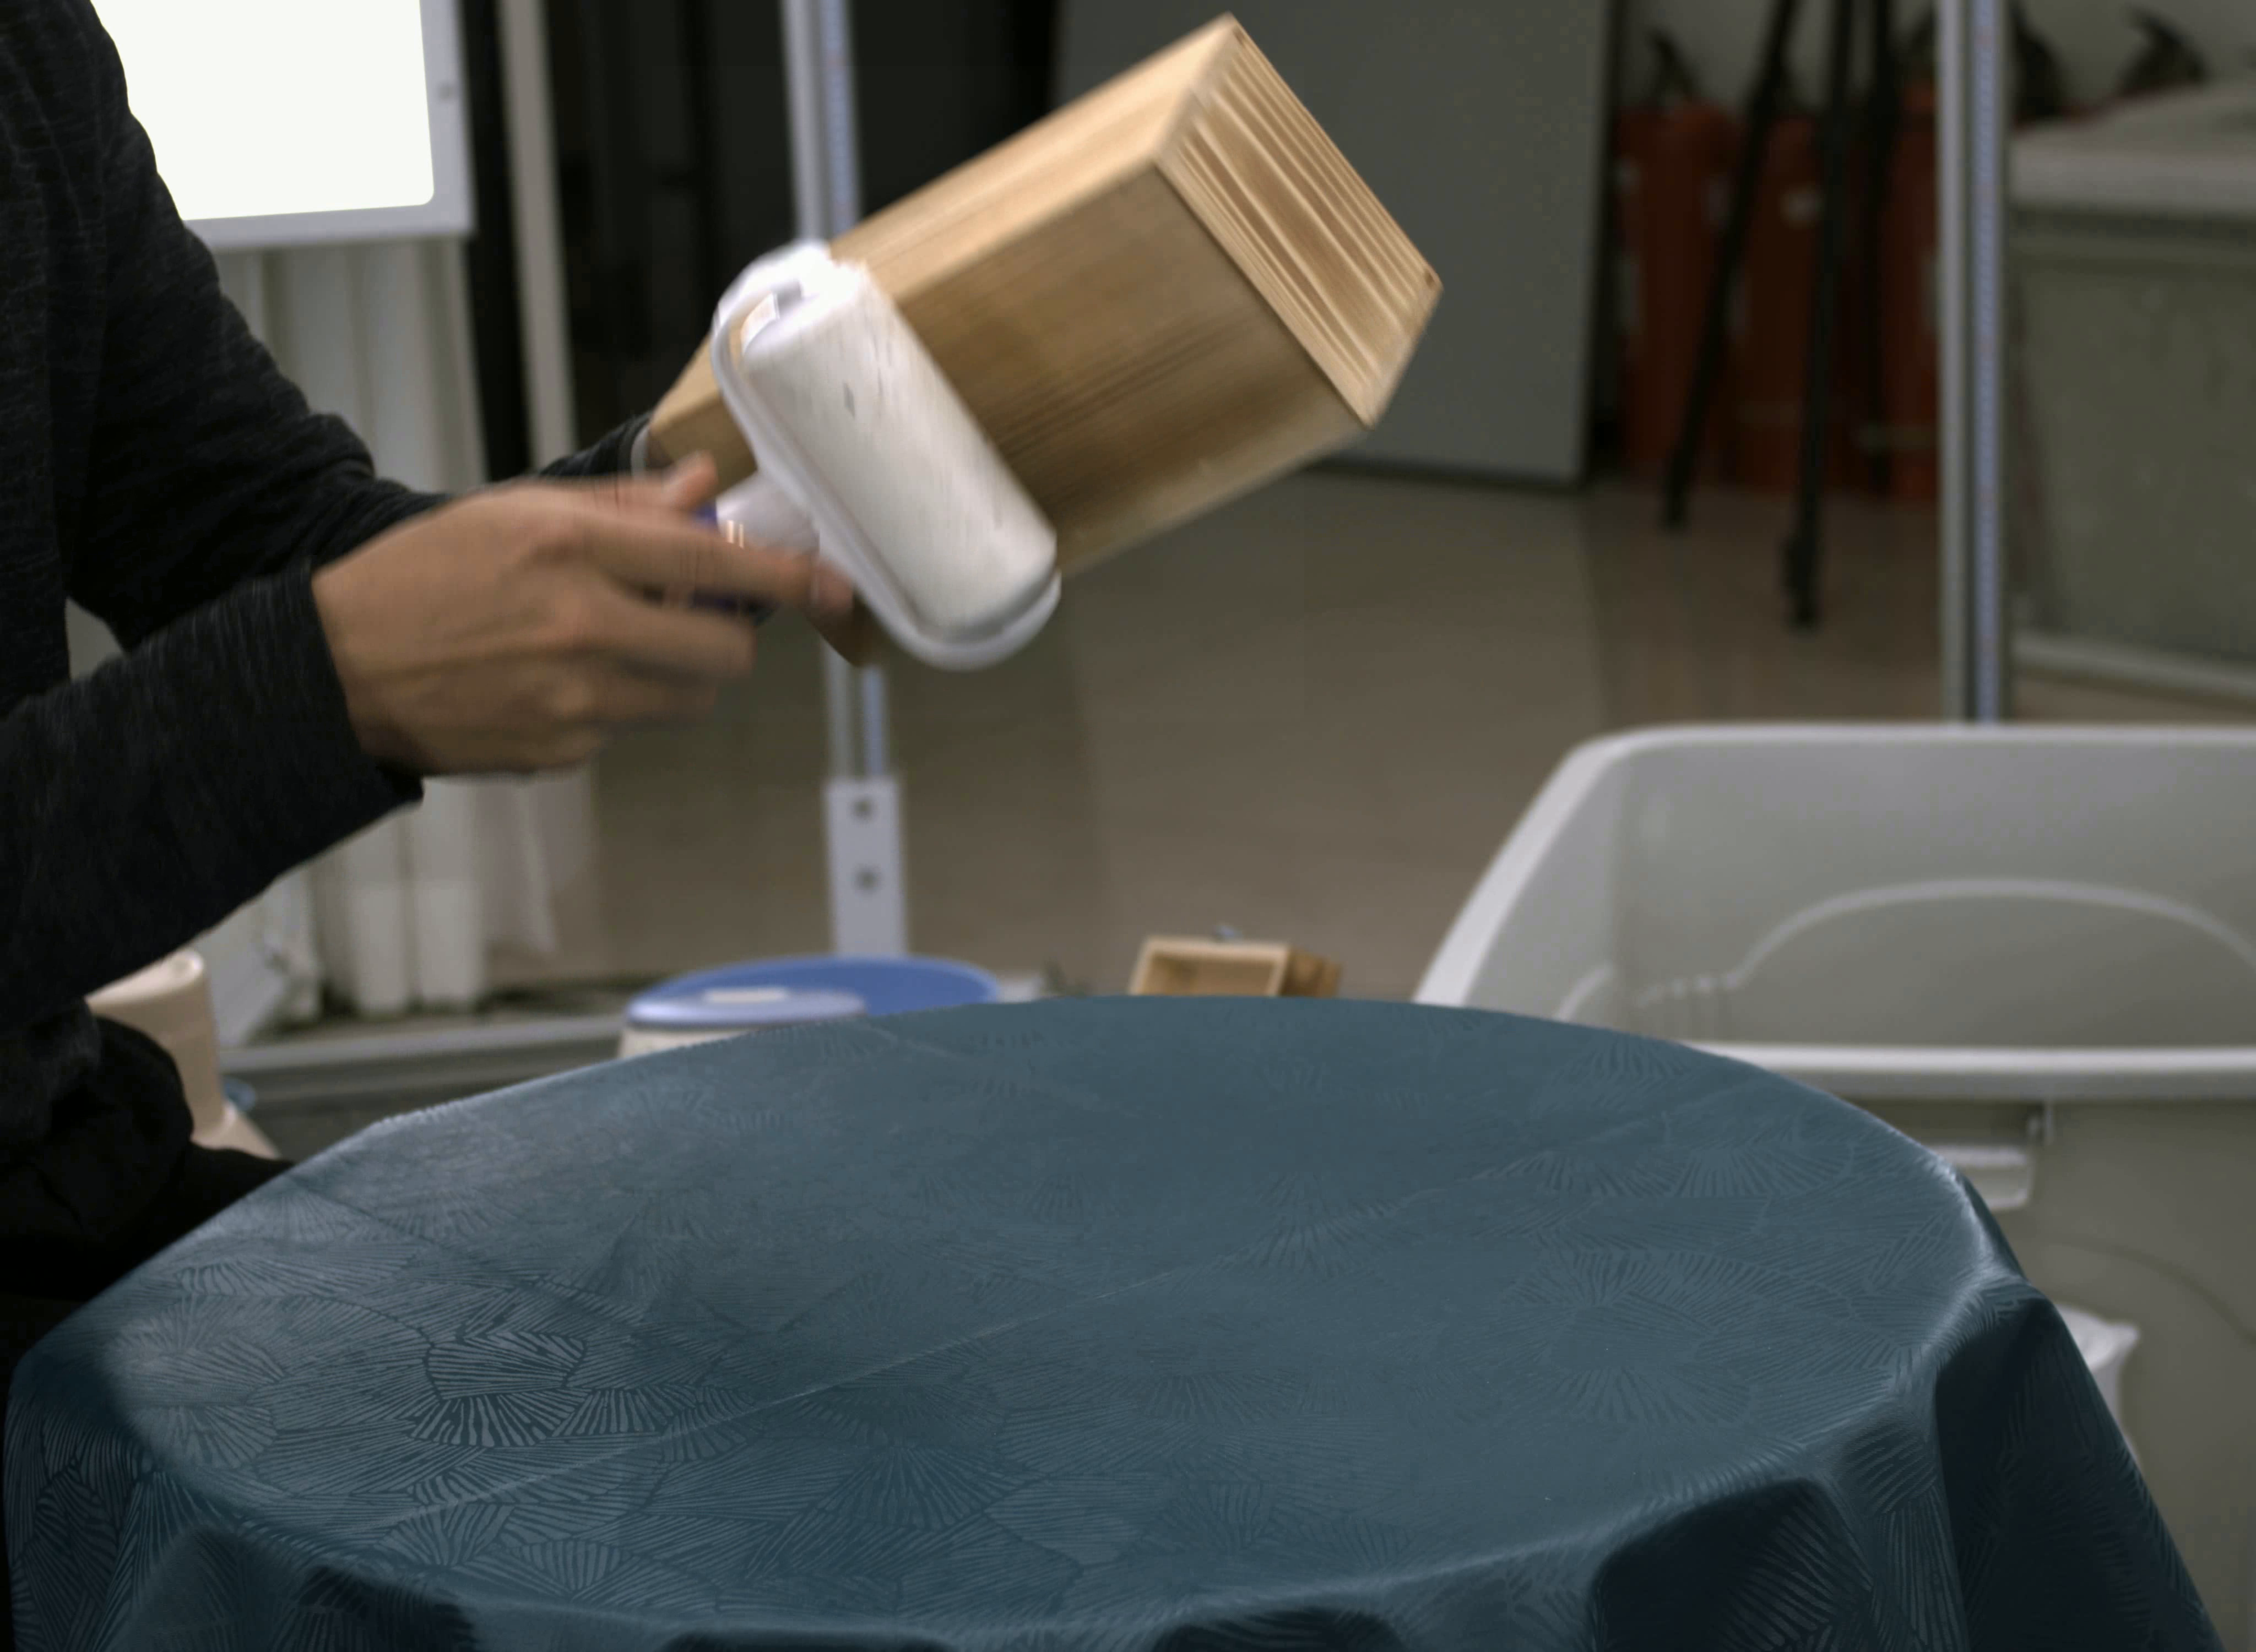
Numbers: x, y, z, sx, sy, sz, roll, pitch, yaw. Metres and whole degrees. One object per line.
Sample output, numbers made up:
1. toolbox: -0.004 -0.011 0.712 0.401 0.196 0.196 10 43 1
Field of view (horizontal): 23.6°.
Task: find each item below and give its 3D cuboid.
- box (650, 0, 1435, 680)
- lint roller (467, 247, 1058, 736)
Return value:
1. box: -0.027 -0.142 1.618 0.213 0.107 0.080 -25 25 37
2. lint roller: -0.122 -0.074 1.569 0.181 0.133 0.050 -30 17 13
